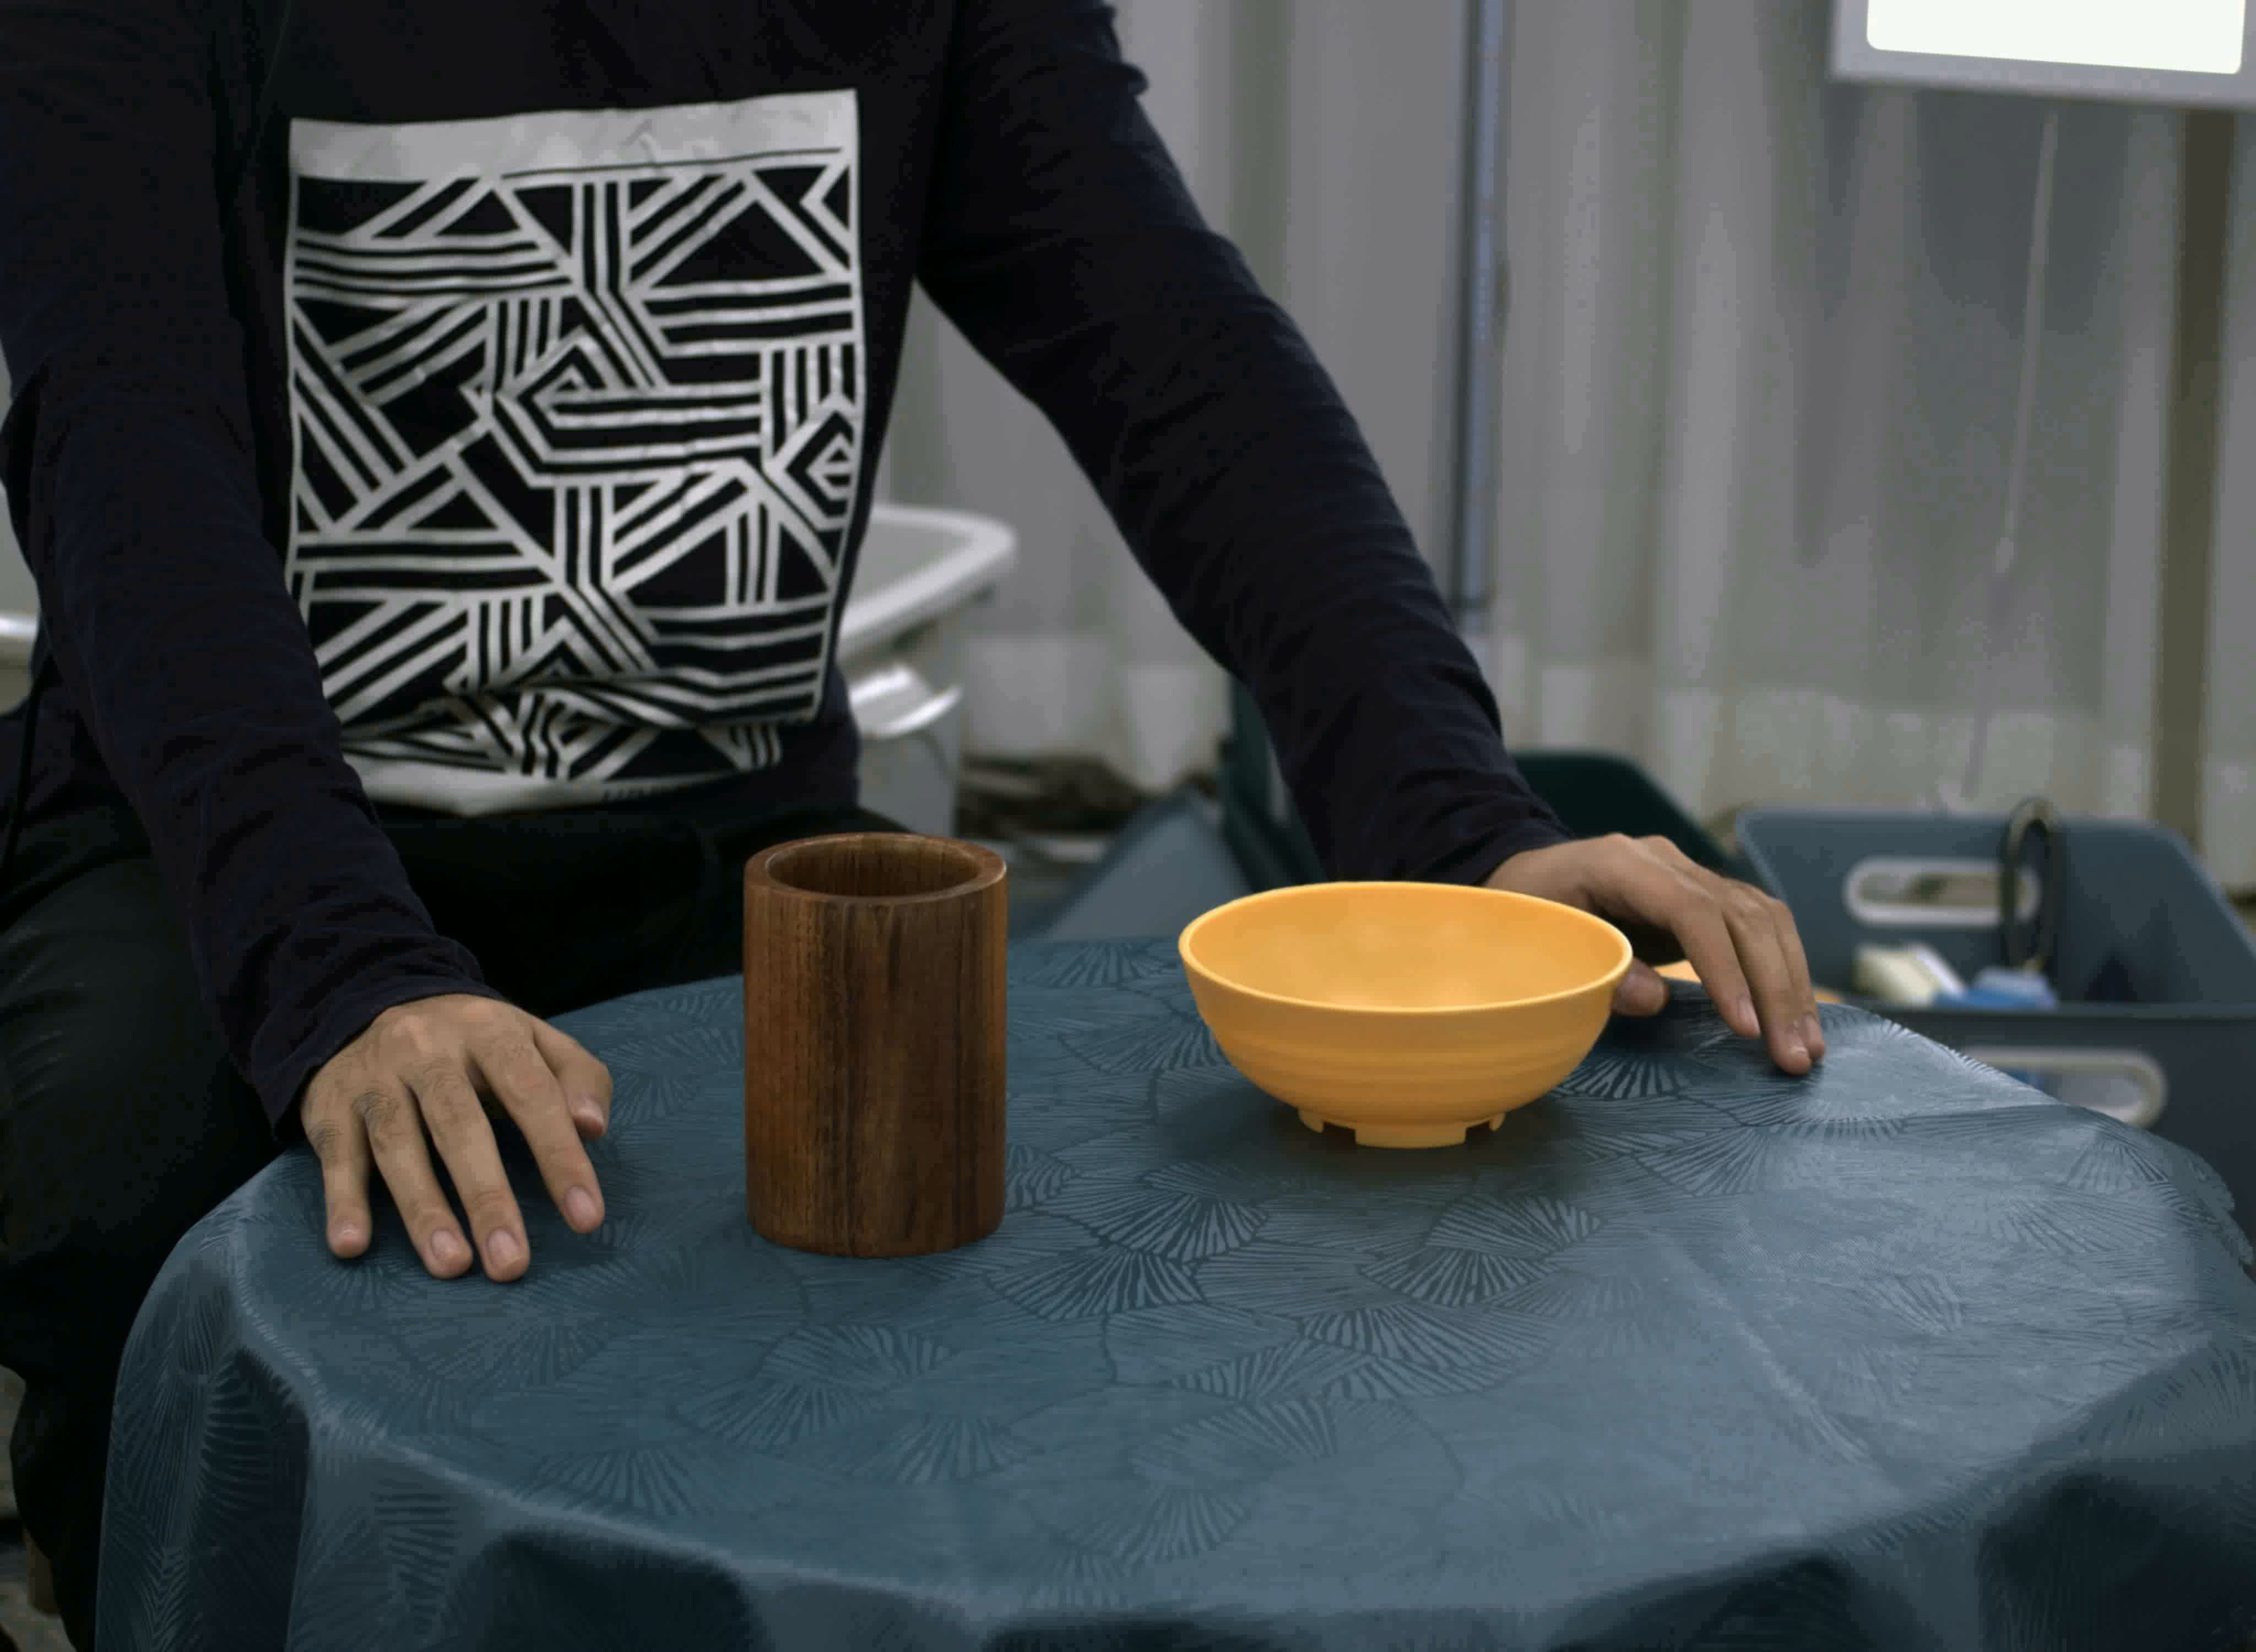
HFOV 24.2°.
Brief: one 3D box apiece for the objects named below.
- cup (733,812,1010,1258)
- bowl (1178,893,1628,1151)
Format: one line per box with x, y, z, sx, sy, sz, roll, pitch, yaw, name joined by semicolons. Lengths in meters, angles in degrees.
-0.078;0.062;1.585;0.087;0.119;0.087;2;15;0;cup
0.087;0.067;1.689;0.145;0.060;0.144;0;14;0;bowl
